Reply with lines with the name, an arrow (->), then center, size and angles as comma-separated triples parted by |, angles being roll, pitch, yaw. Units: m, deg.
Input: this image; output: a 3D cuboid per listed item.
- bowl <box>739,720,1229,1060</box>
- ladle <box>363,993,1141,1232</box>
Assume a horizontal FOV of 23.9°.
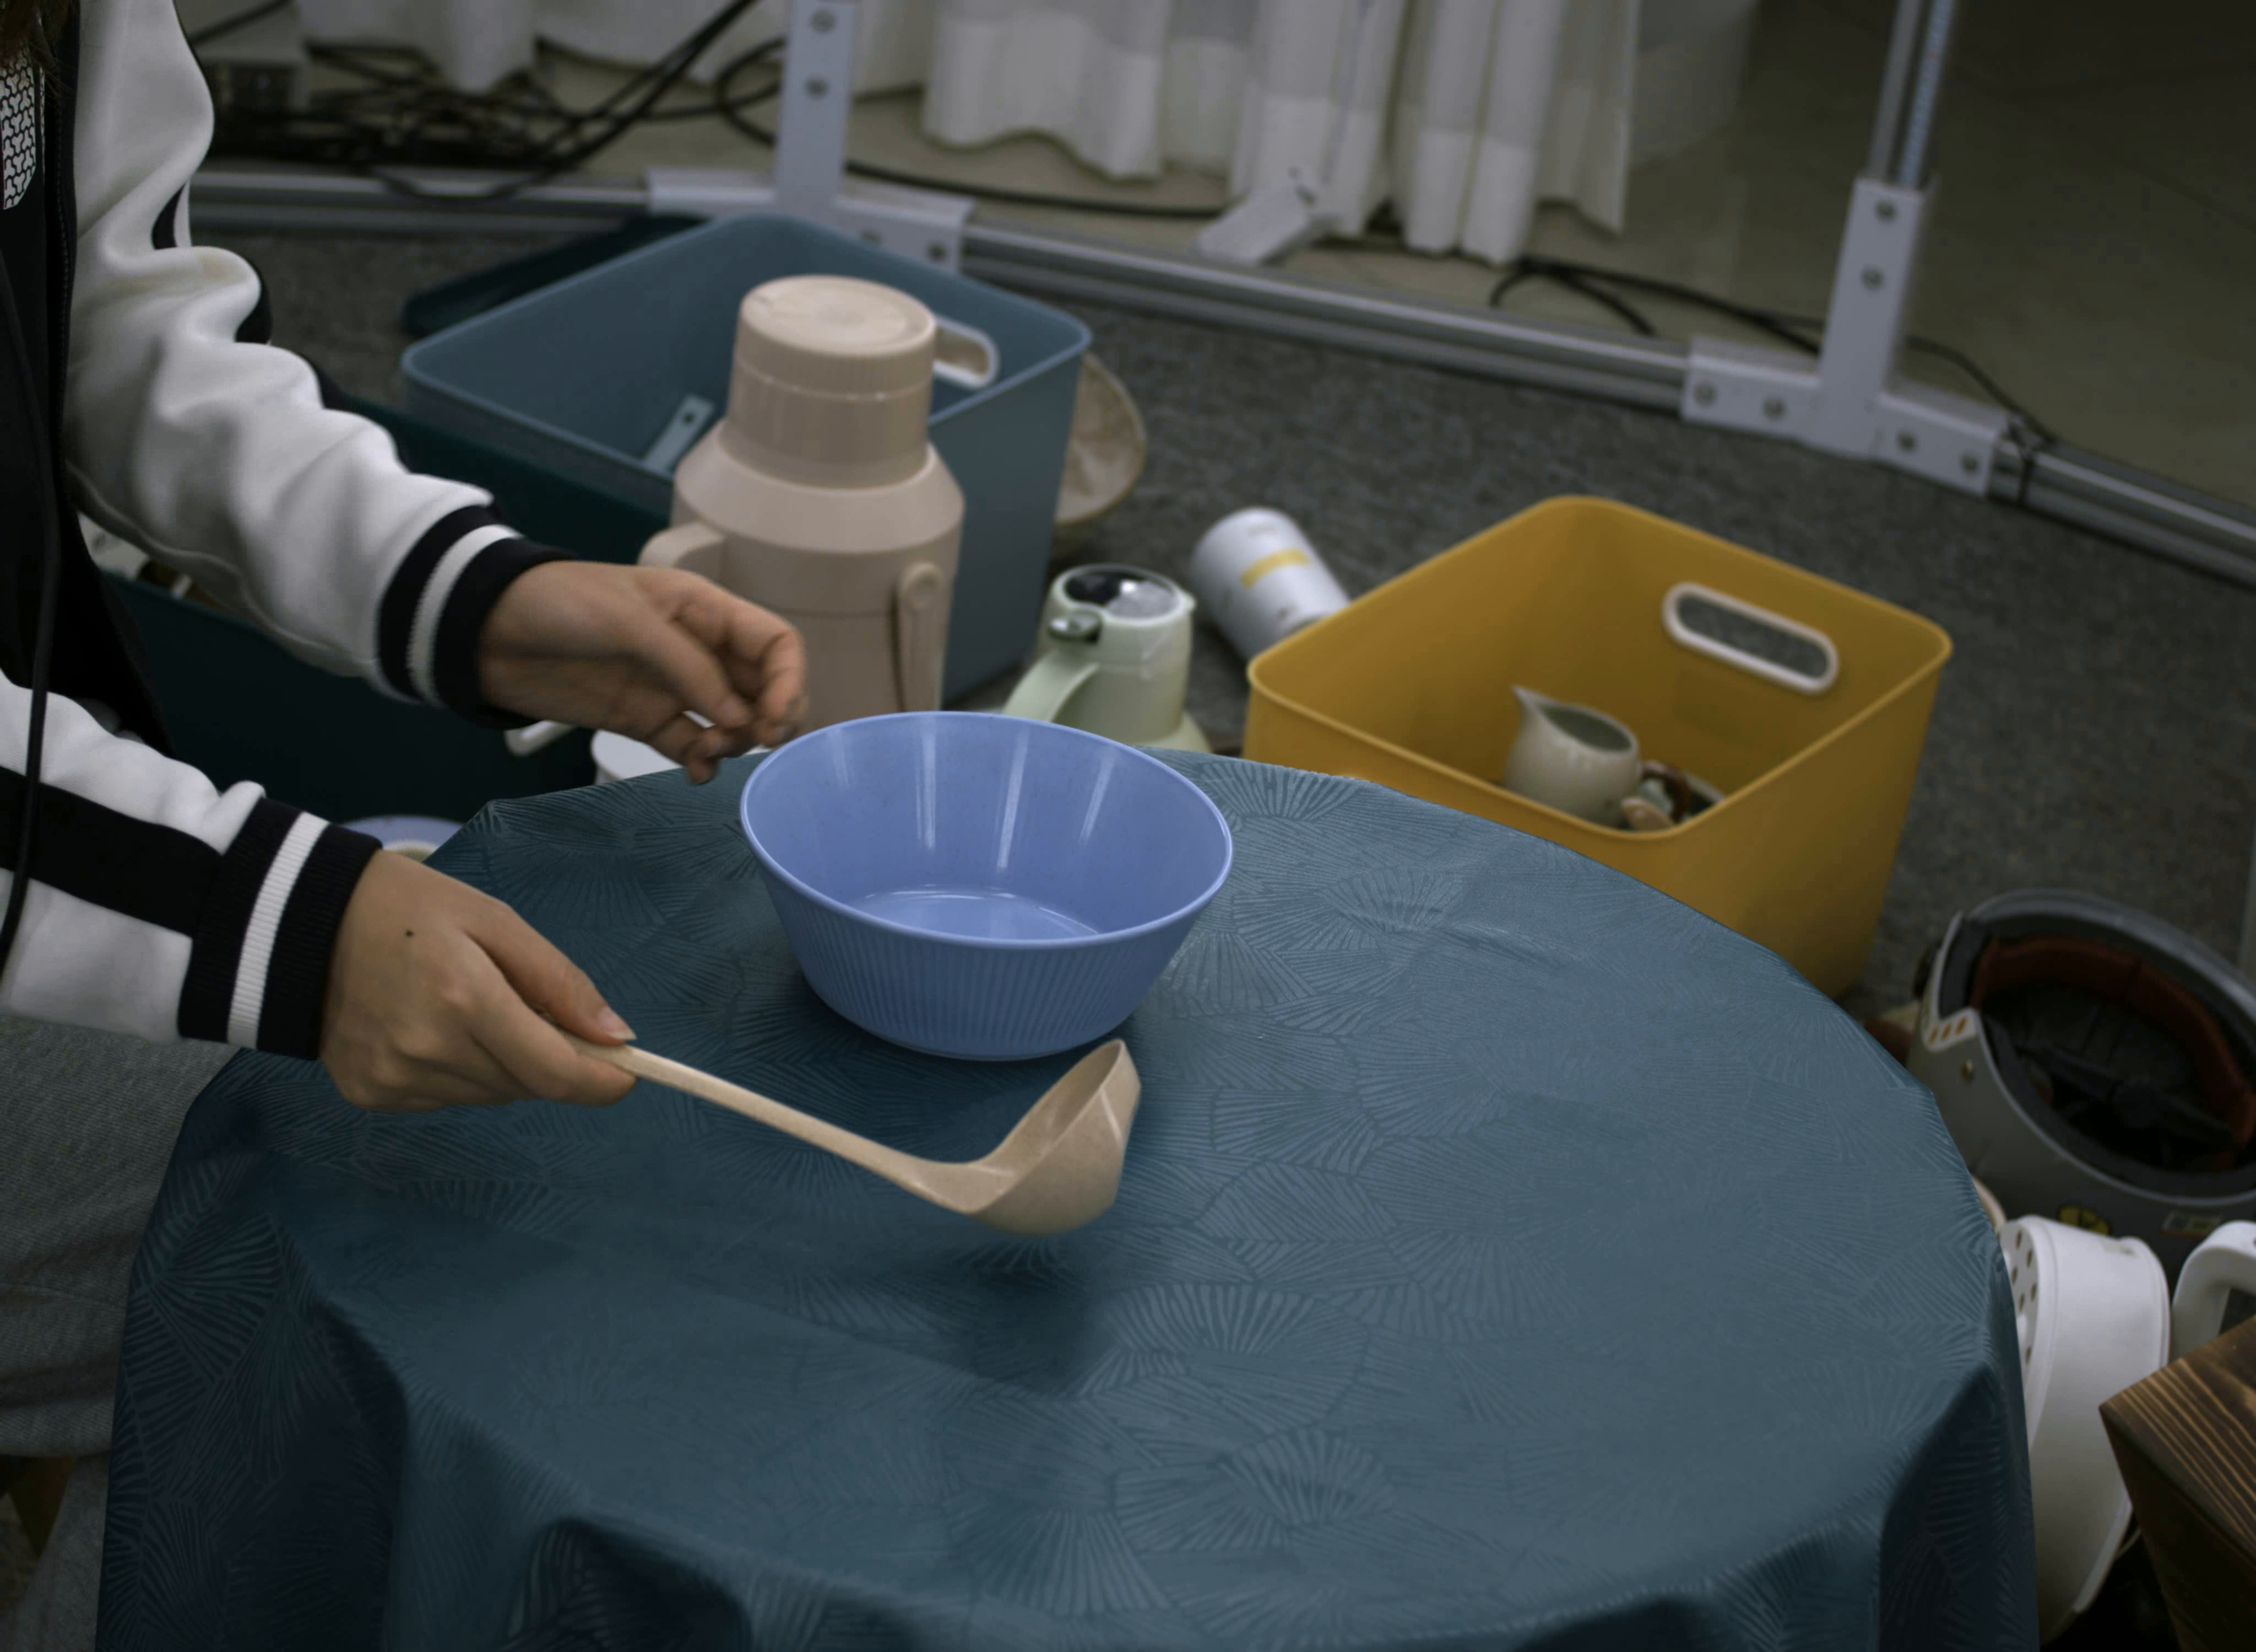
bowl -> -0.054, 0.028, 1.900 | 0.175, 0.070, 0.177 | 6, 26, -3
ladle -> -0.120, 0.067, 1.729 | 0.254, 0.072, 0.072 | 18, 25, 0
